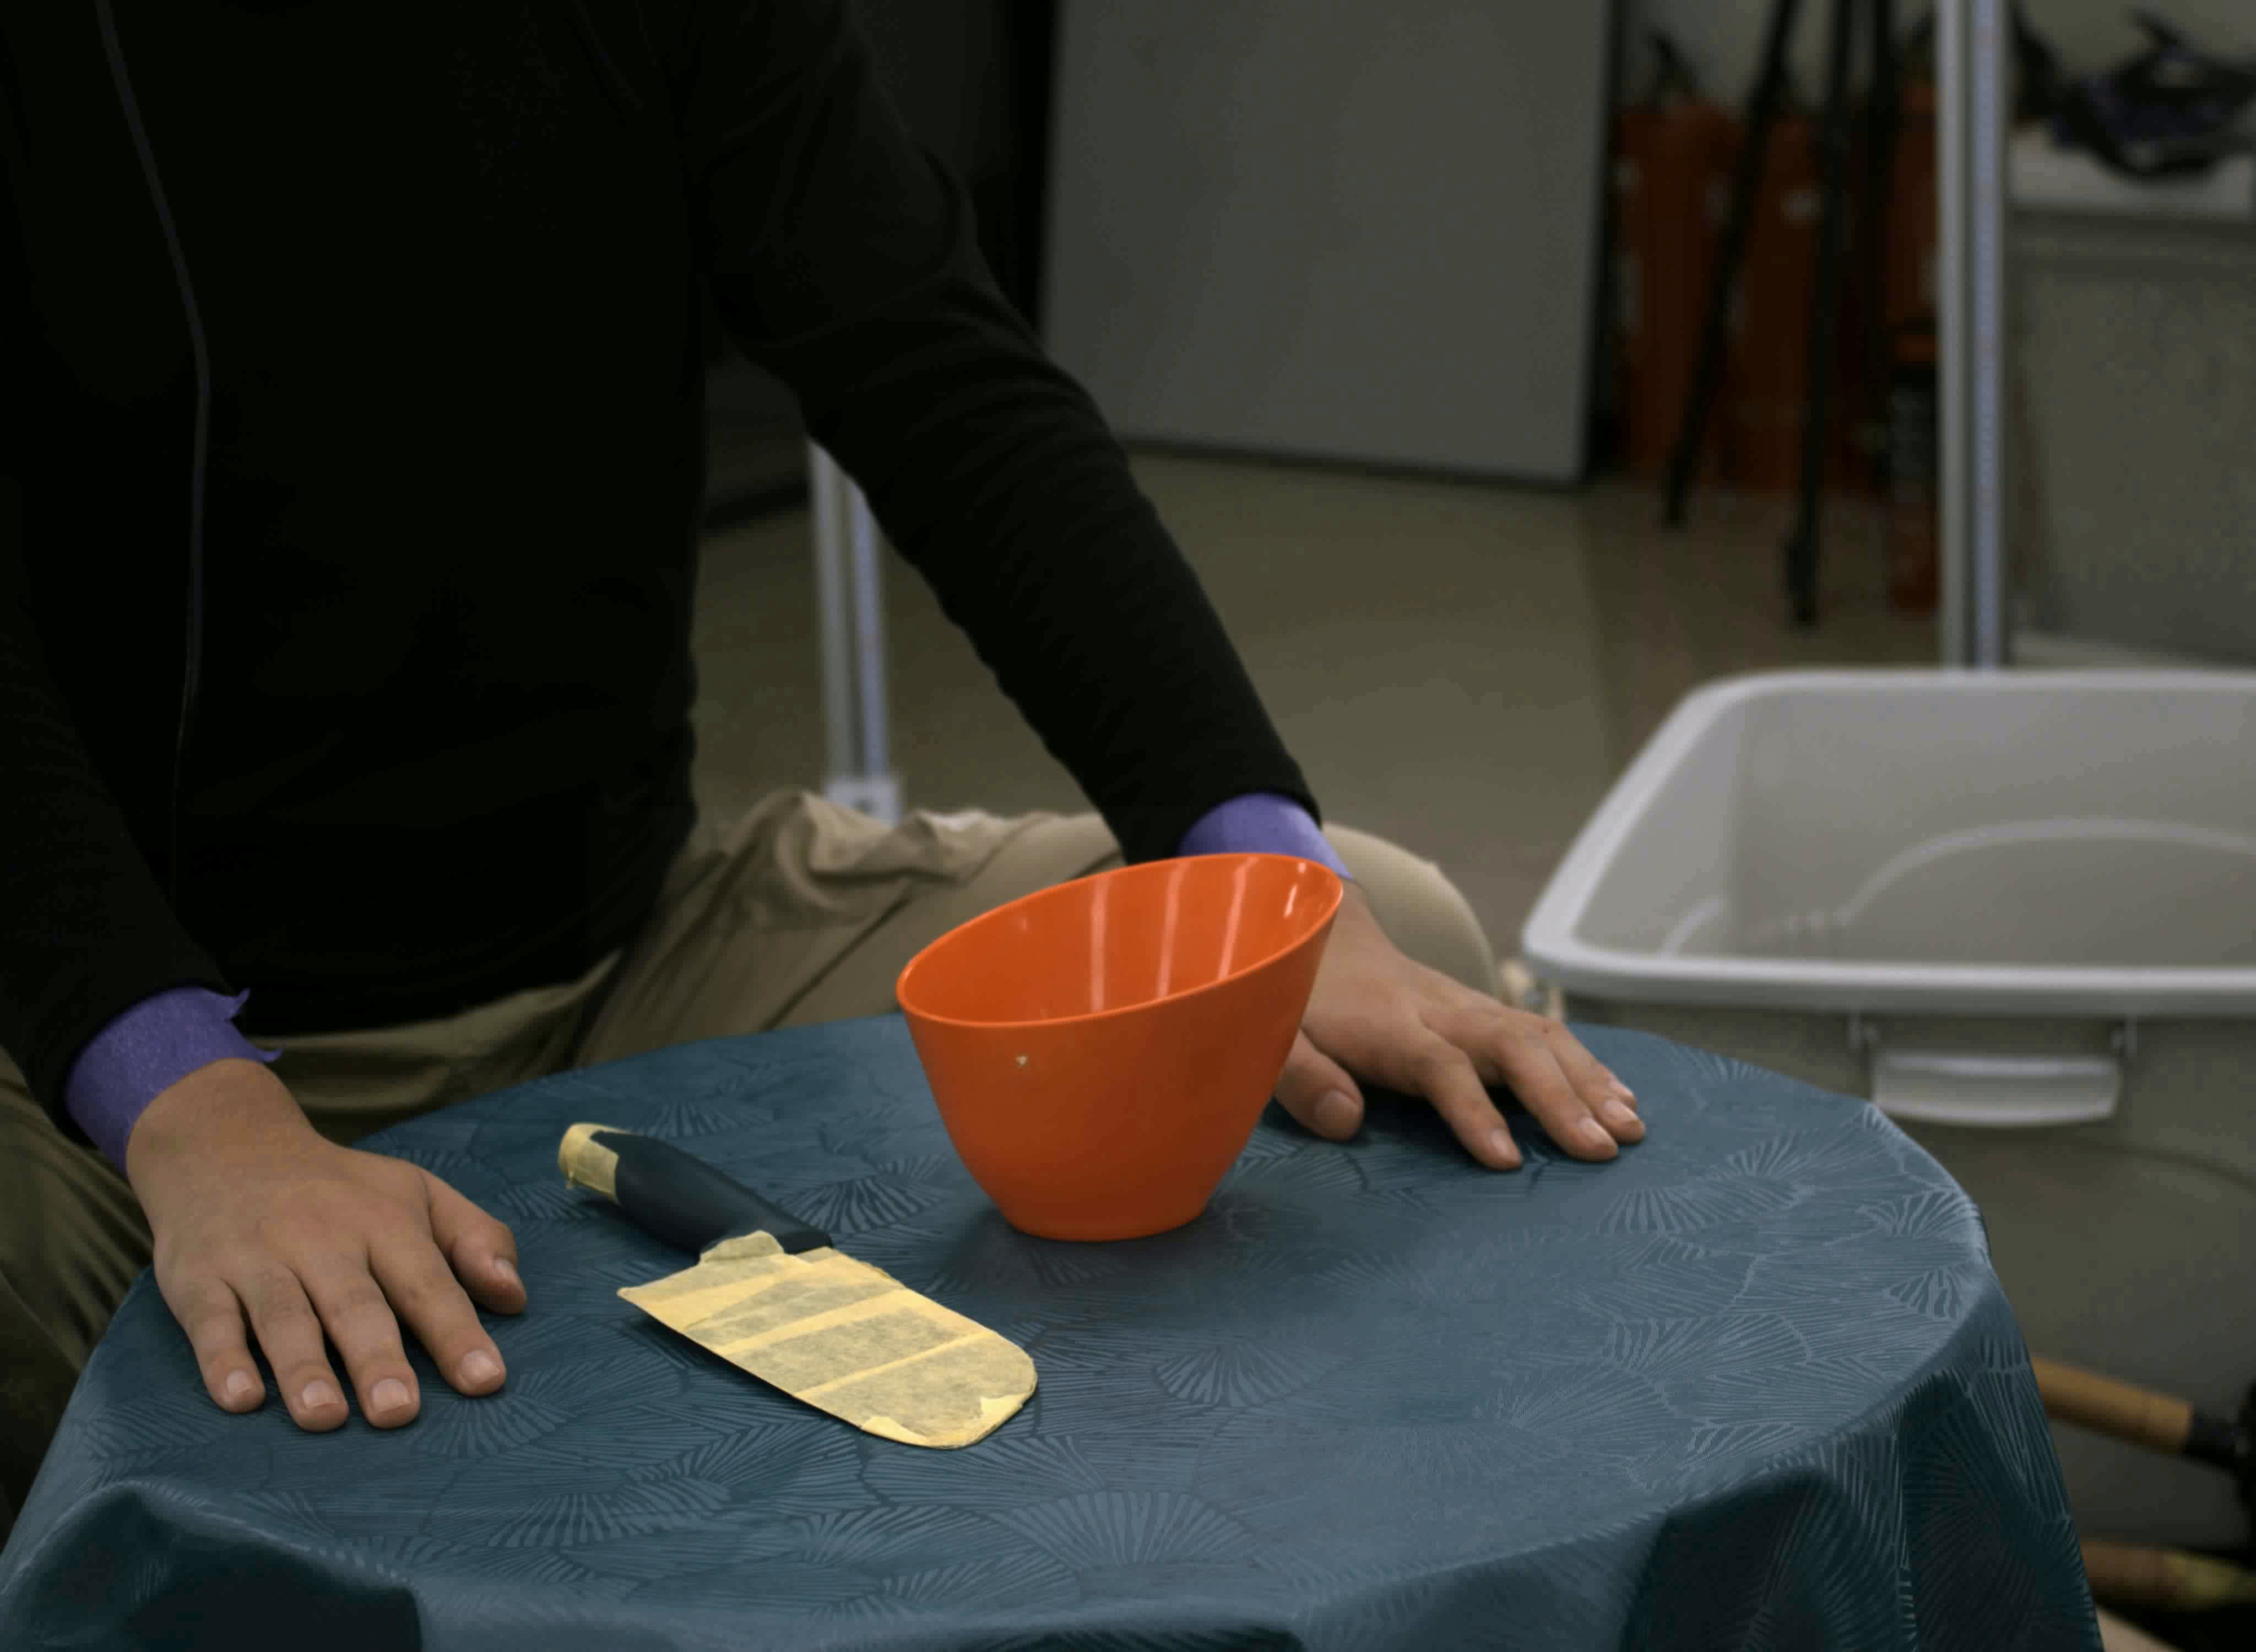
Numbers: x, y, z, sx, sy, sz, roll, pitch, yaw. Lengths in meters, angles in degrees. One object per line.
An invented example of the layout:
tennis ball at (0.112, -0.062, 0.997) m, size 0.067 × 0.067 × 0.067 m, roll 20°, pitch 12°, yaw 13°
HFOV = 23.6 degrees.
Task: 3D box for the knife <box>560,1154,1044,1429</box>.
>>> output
knife at (-0.114, 0.146, 1.680) m, size 0.079 × 0.027 × 0.292 m, roll -11°, pitch 16°, yaw -30°

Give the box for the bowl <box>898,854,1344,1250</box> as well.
bowl at (0.001, 0.076, 1.746) m, size 0.146 × 0.106 × 0.148 m, roll -5°, pitch 14°, yaw 0°
